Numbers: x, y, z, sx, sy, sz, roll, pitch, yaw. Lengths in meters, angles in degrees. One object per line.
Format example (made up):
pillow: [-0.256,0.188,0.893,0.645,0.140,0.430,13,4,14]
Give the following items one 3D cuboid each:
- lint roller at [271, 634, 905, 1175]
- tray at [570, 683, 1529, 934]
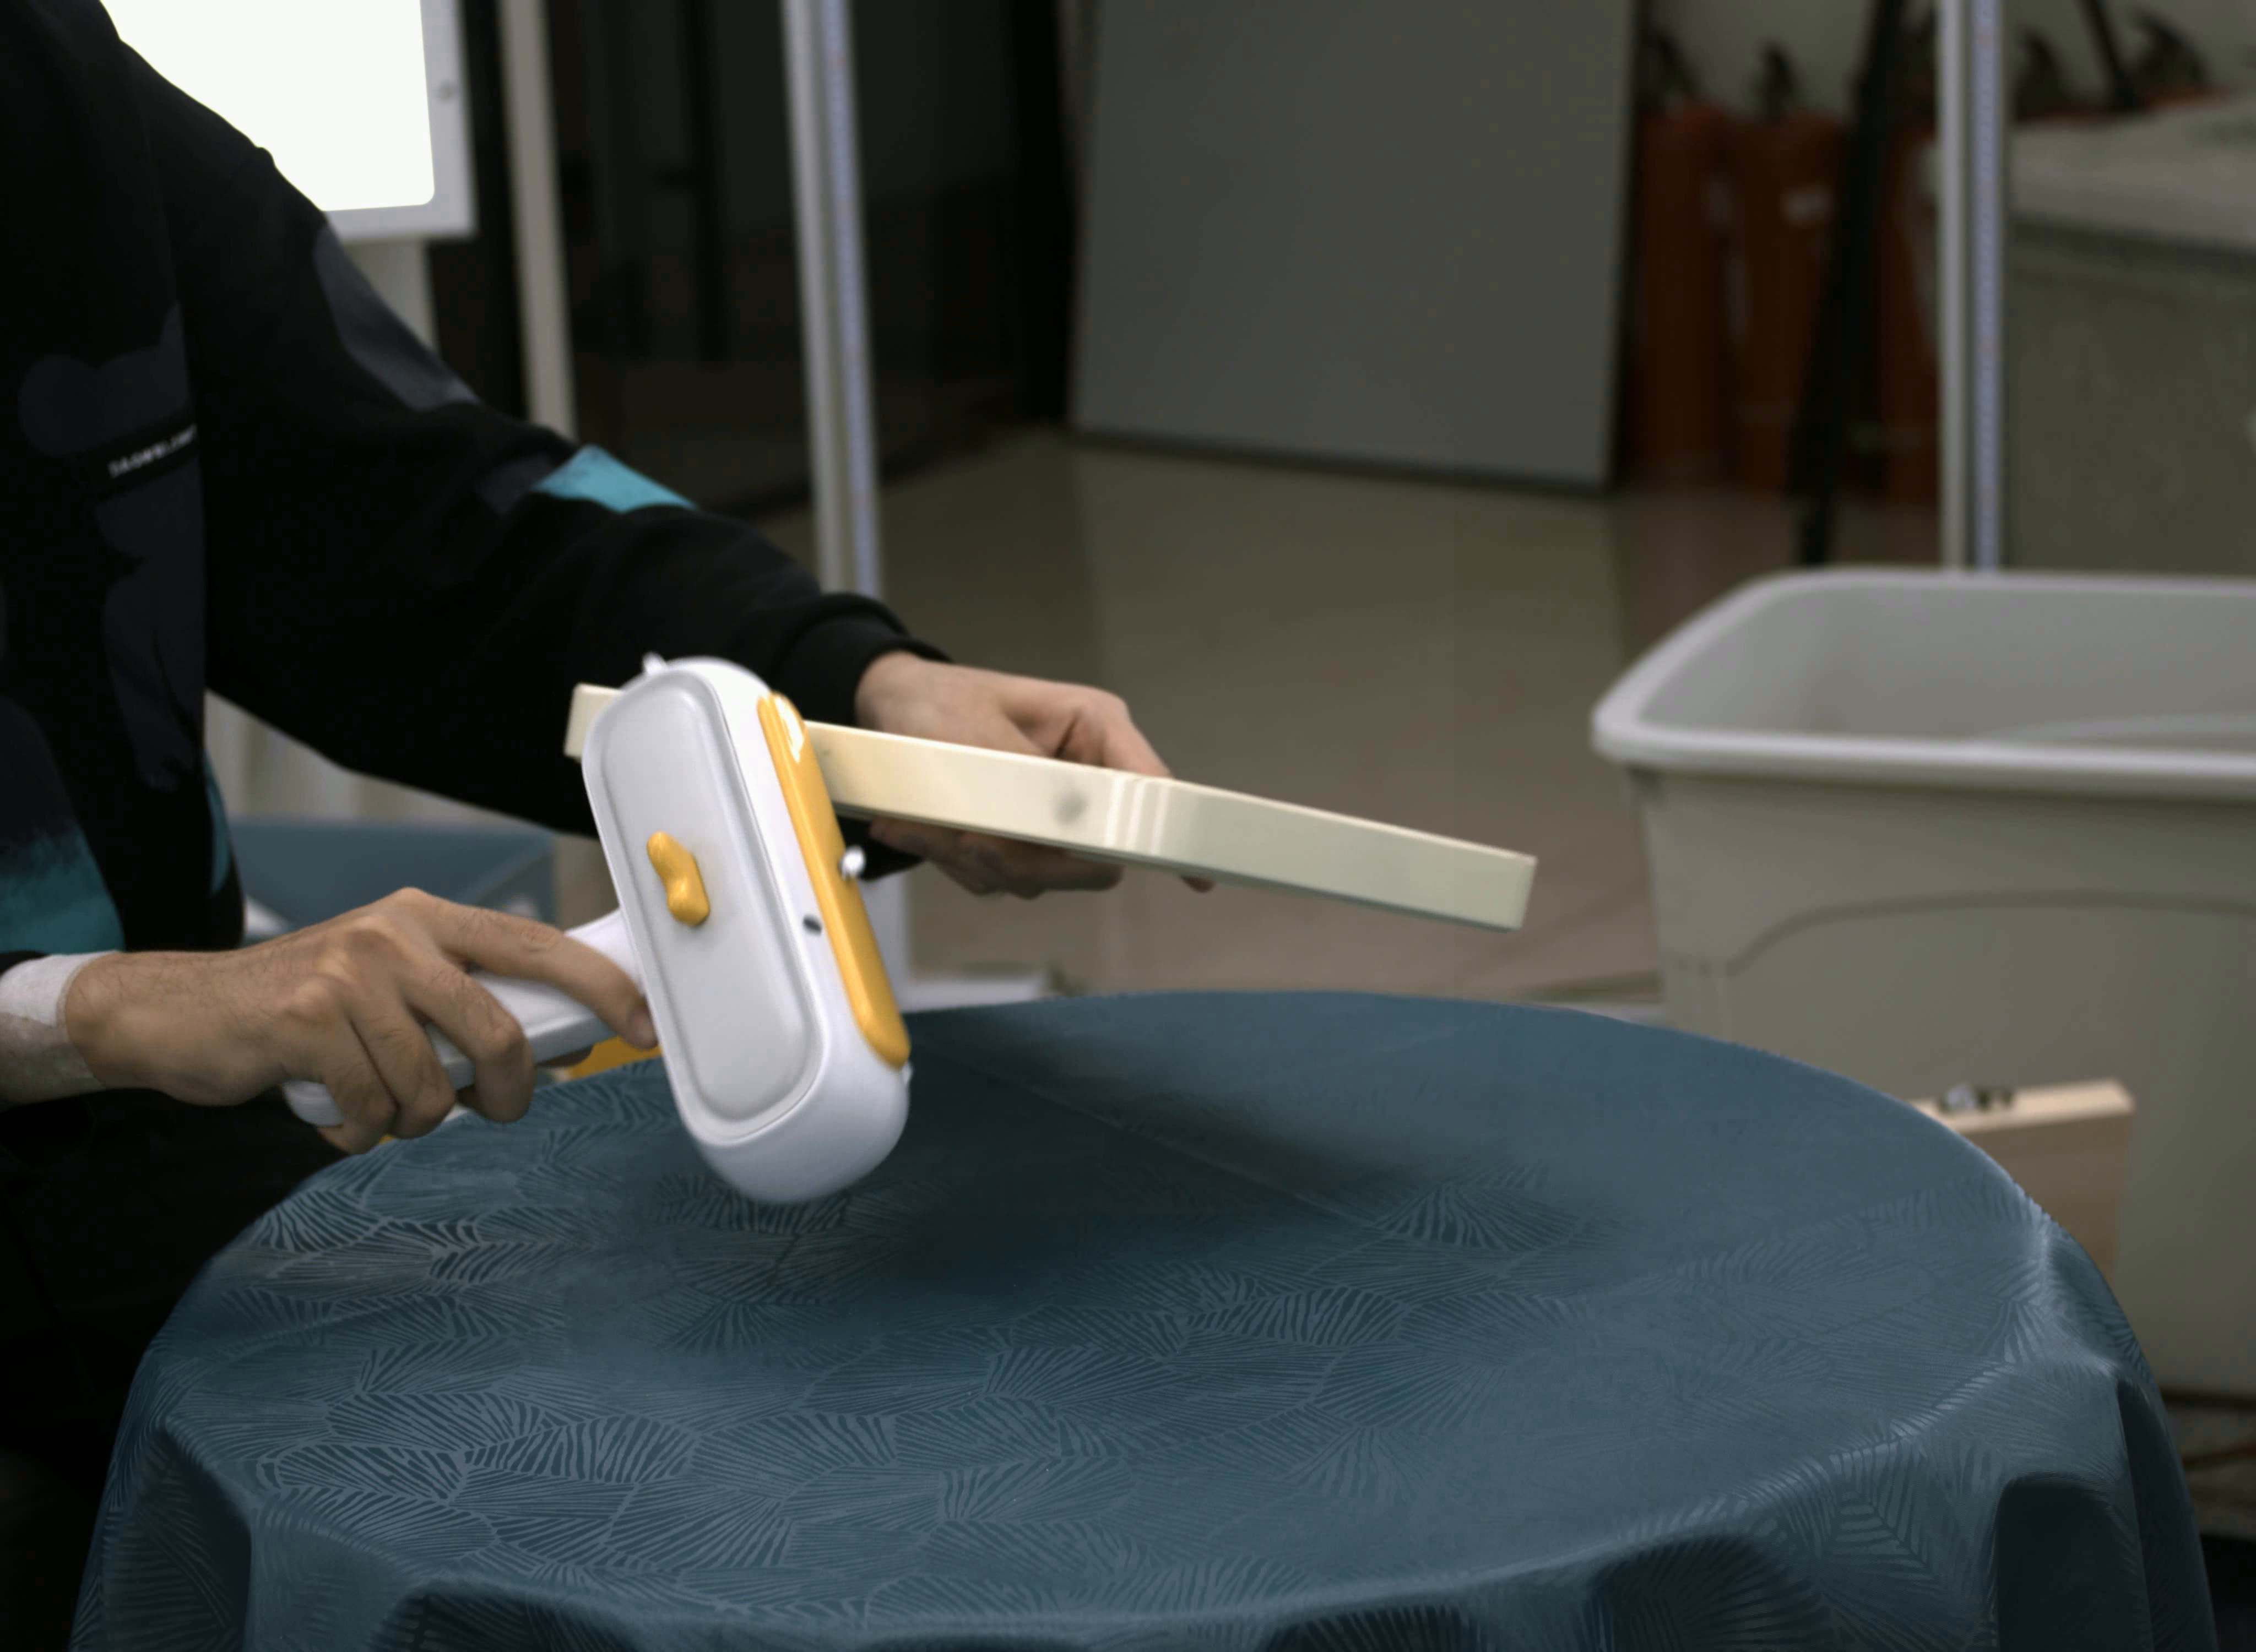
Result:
lint roller: [-0.177,0.049,1.702,0.192,0.195,0.073,-30,-32,7]
tray: [-0.031,-0.006,1.798,0.187,0.028,0.303,13,-3,-43]
